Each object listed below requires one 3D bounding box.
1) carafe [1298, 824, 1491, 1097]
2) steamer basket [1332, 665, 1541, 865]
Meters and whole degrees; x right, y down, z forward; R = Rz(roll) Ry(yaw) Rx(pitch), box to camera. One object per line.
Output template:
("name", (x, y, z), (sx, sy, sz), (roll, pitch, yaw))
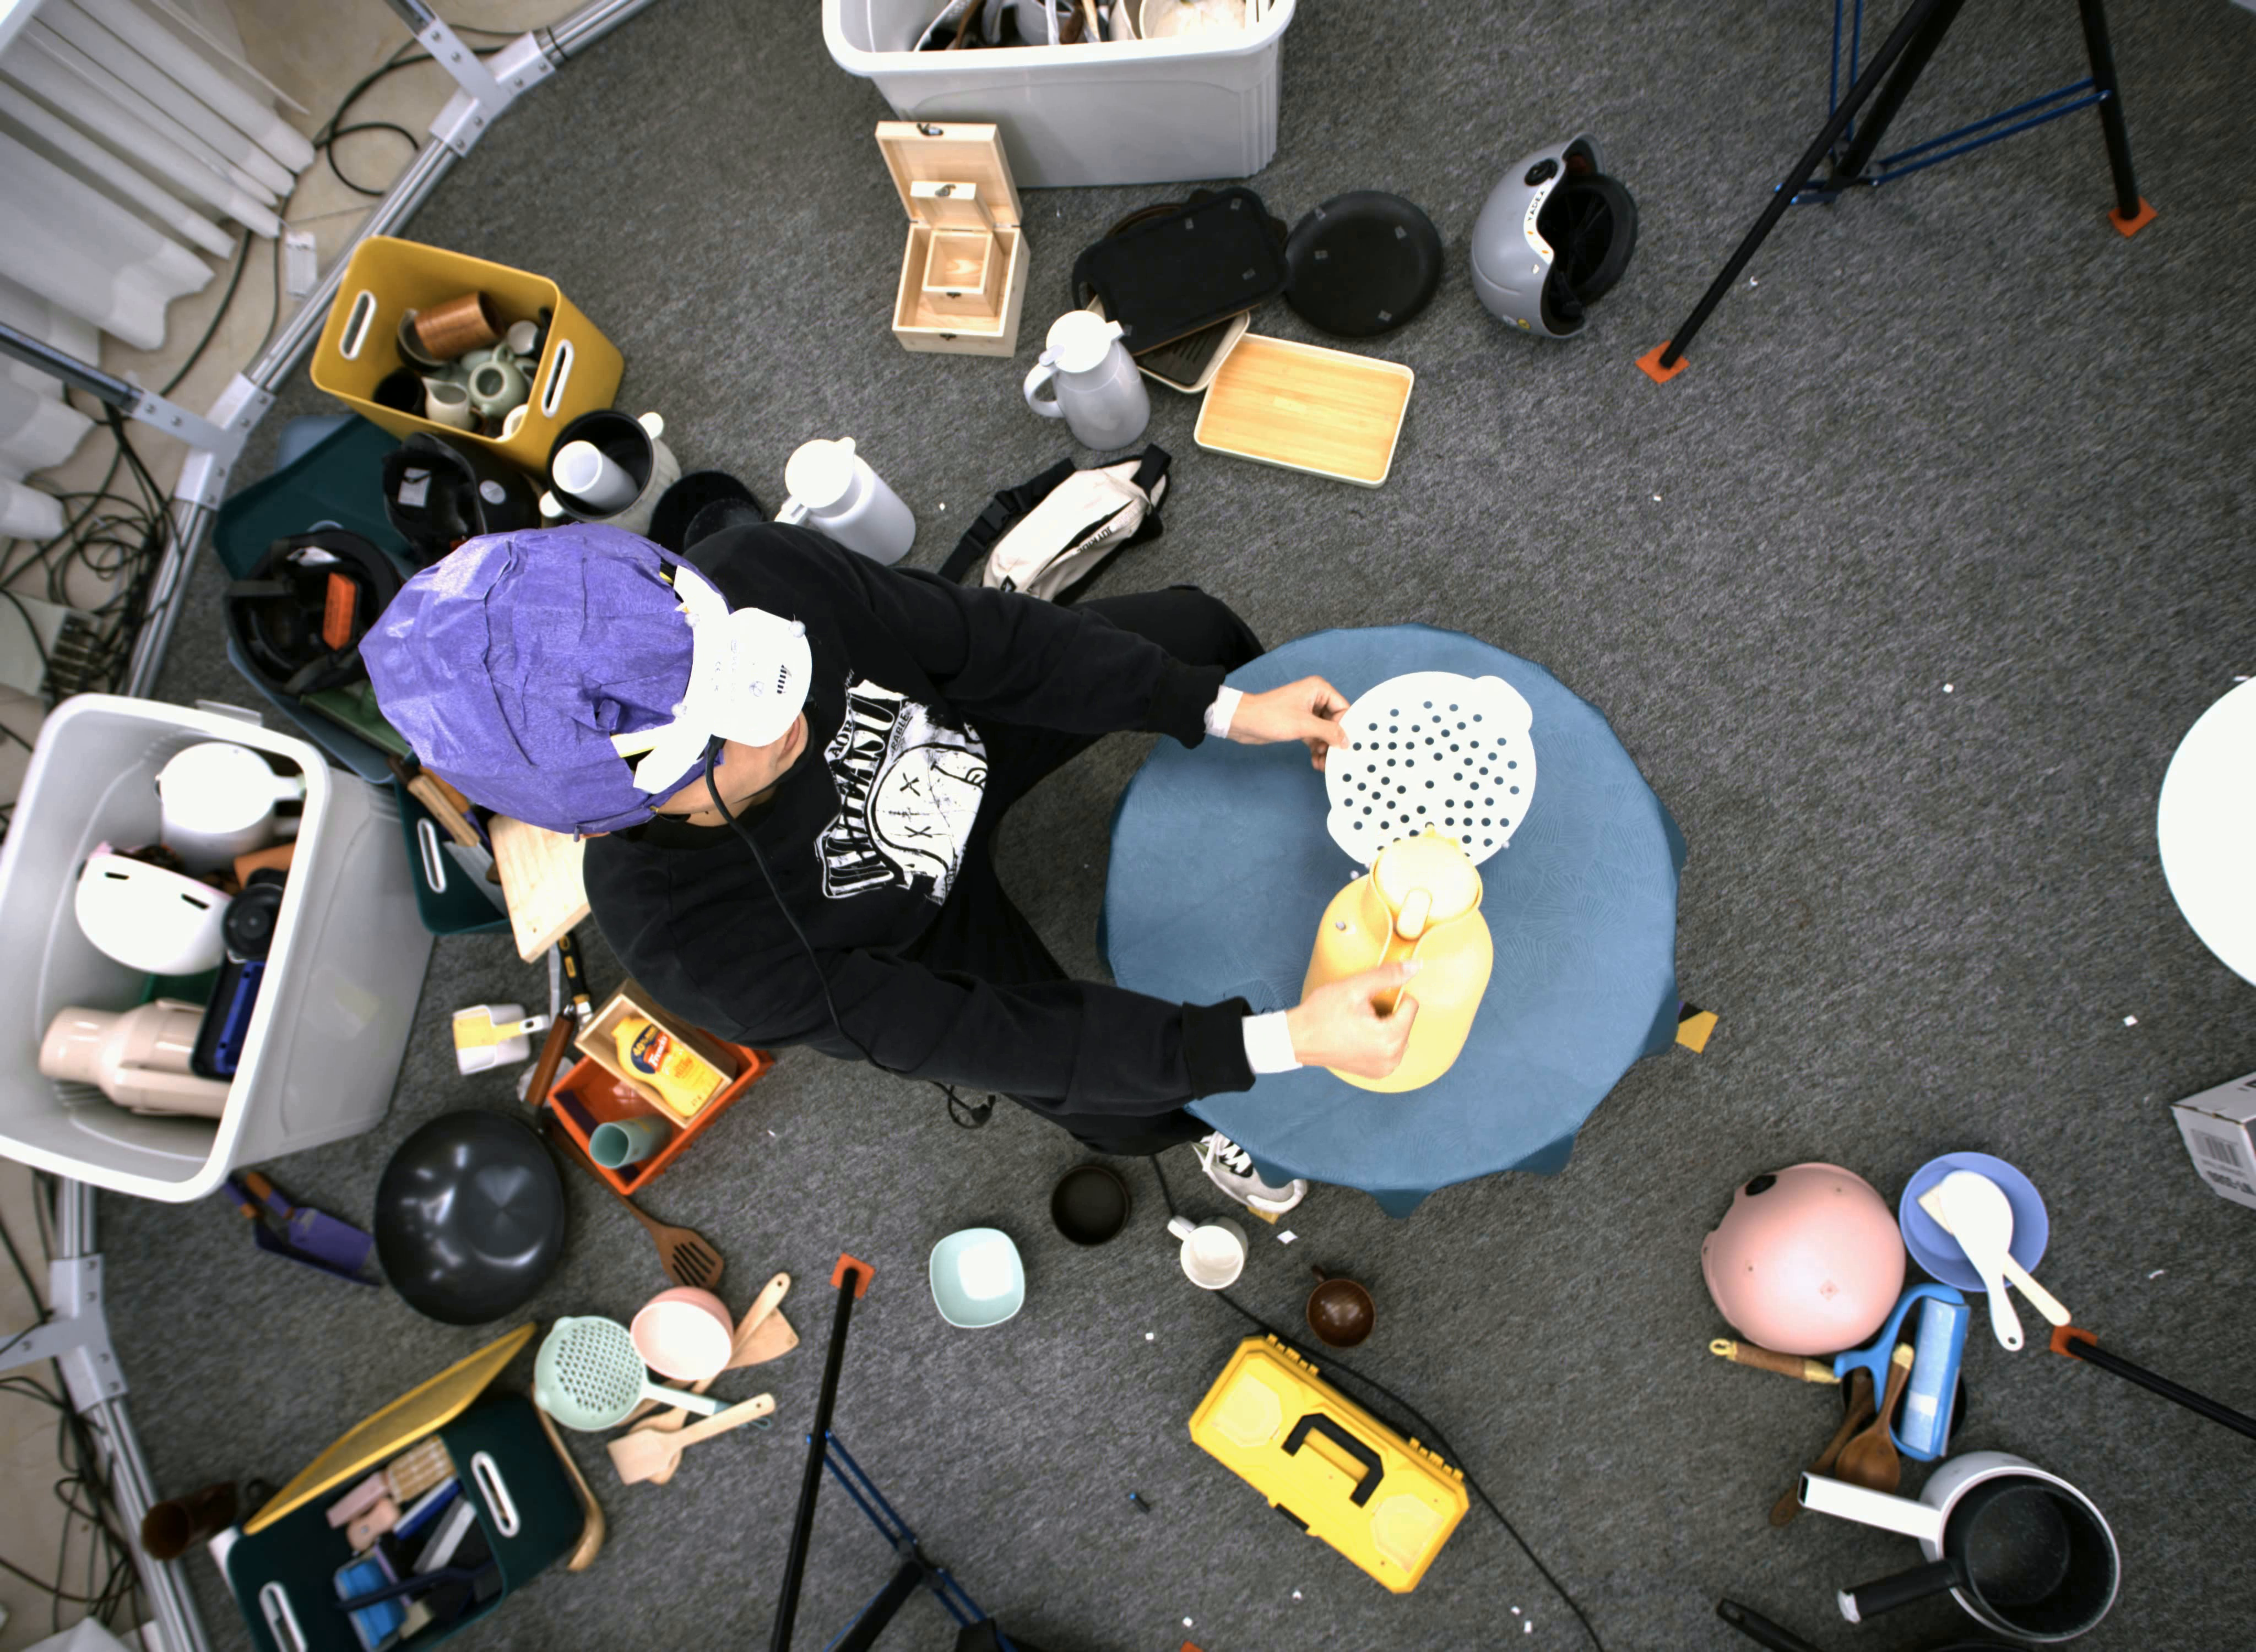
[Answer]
("carafe", (0.241, 0.134, 1.265), (0.163, 0.267, 0.197), (20, 49, 17))
("steamer basket", (0.301, -0.057, 1.358), (0.229, 0.070, 0.200), (-40, 77, -5))
